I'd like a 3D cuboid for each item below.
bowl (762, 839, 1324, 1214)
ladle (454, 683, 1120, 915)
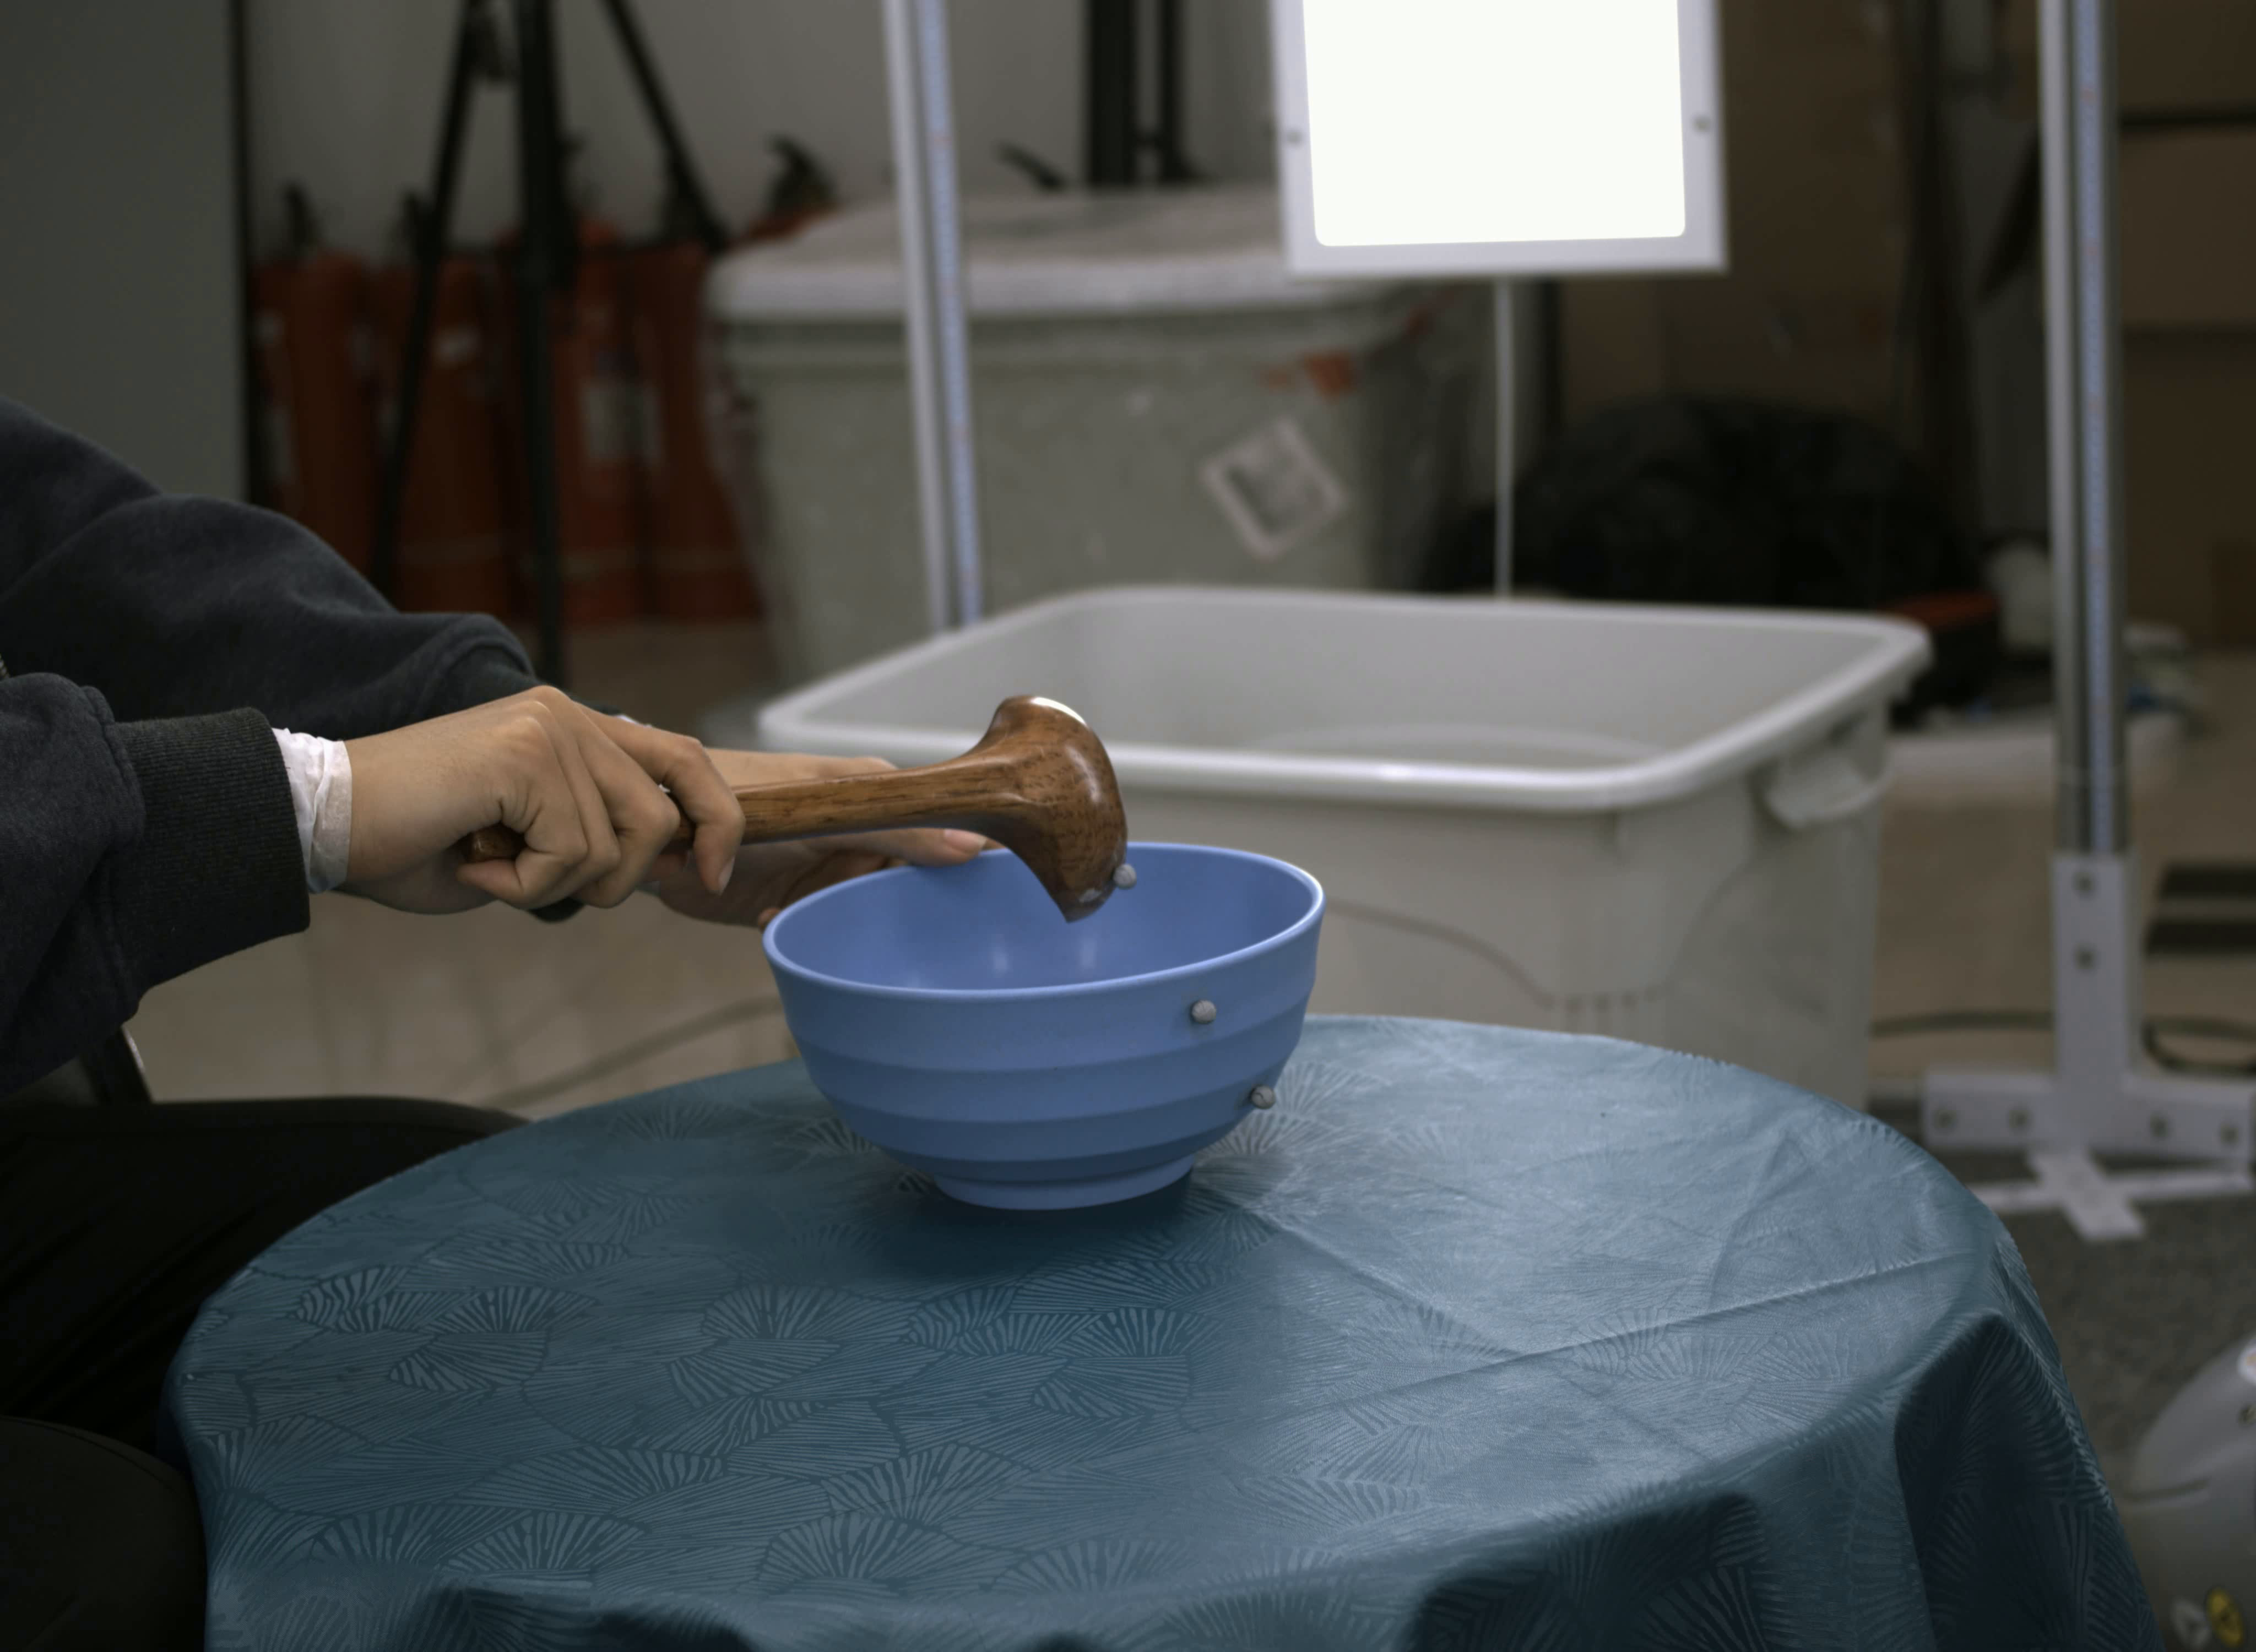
[{"bbox_3d":[-0.025,0.076,1.917,0.196,0.096,0.196,-6,14,0],"label":"bowl"},{"bbox_3d":[-0.115,0.002,1.833,0.267,0.082,0.078,-9,-16,-32],"label":"ladle"}]
